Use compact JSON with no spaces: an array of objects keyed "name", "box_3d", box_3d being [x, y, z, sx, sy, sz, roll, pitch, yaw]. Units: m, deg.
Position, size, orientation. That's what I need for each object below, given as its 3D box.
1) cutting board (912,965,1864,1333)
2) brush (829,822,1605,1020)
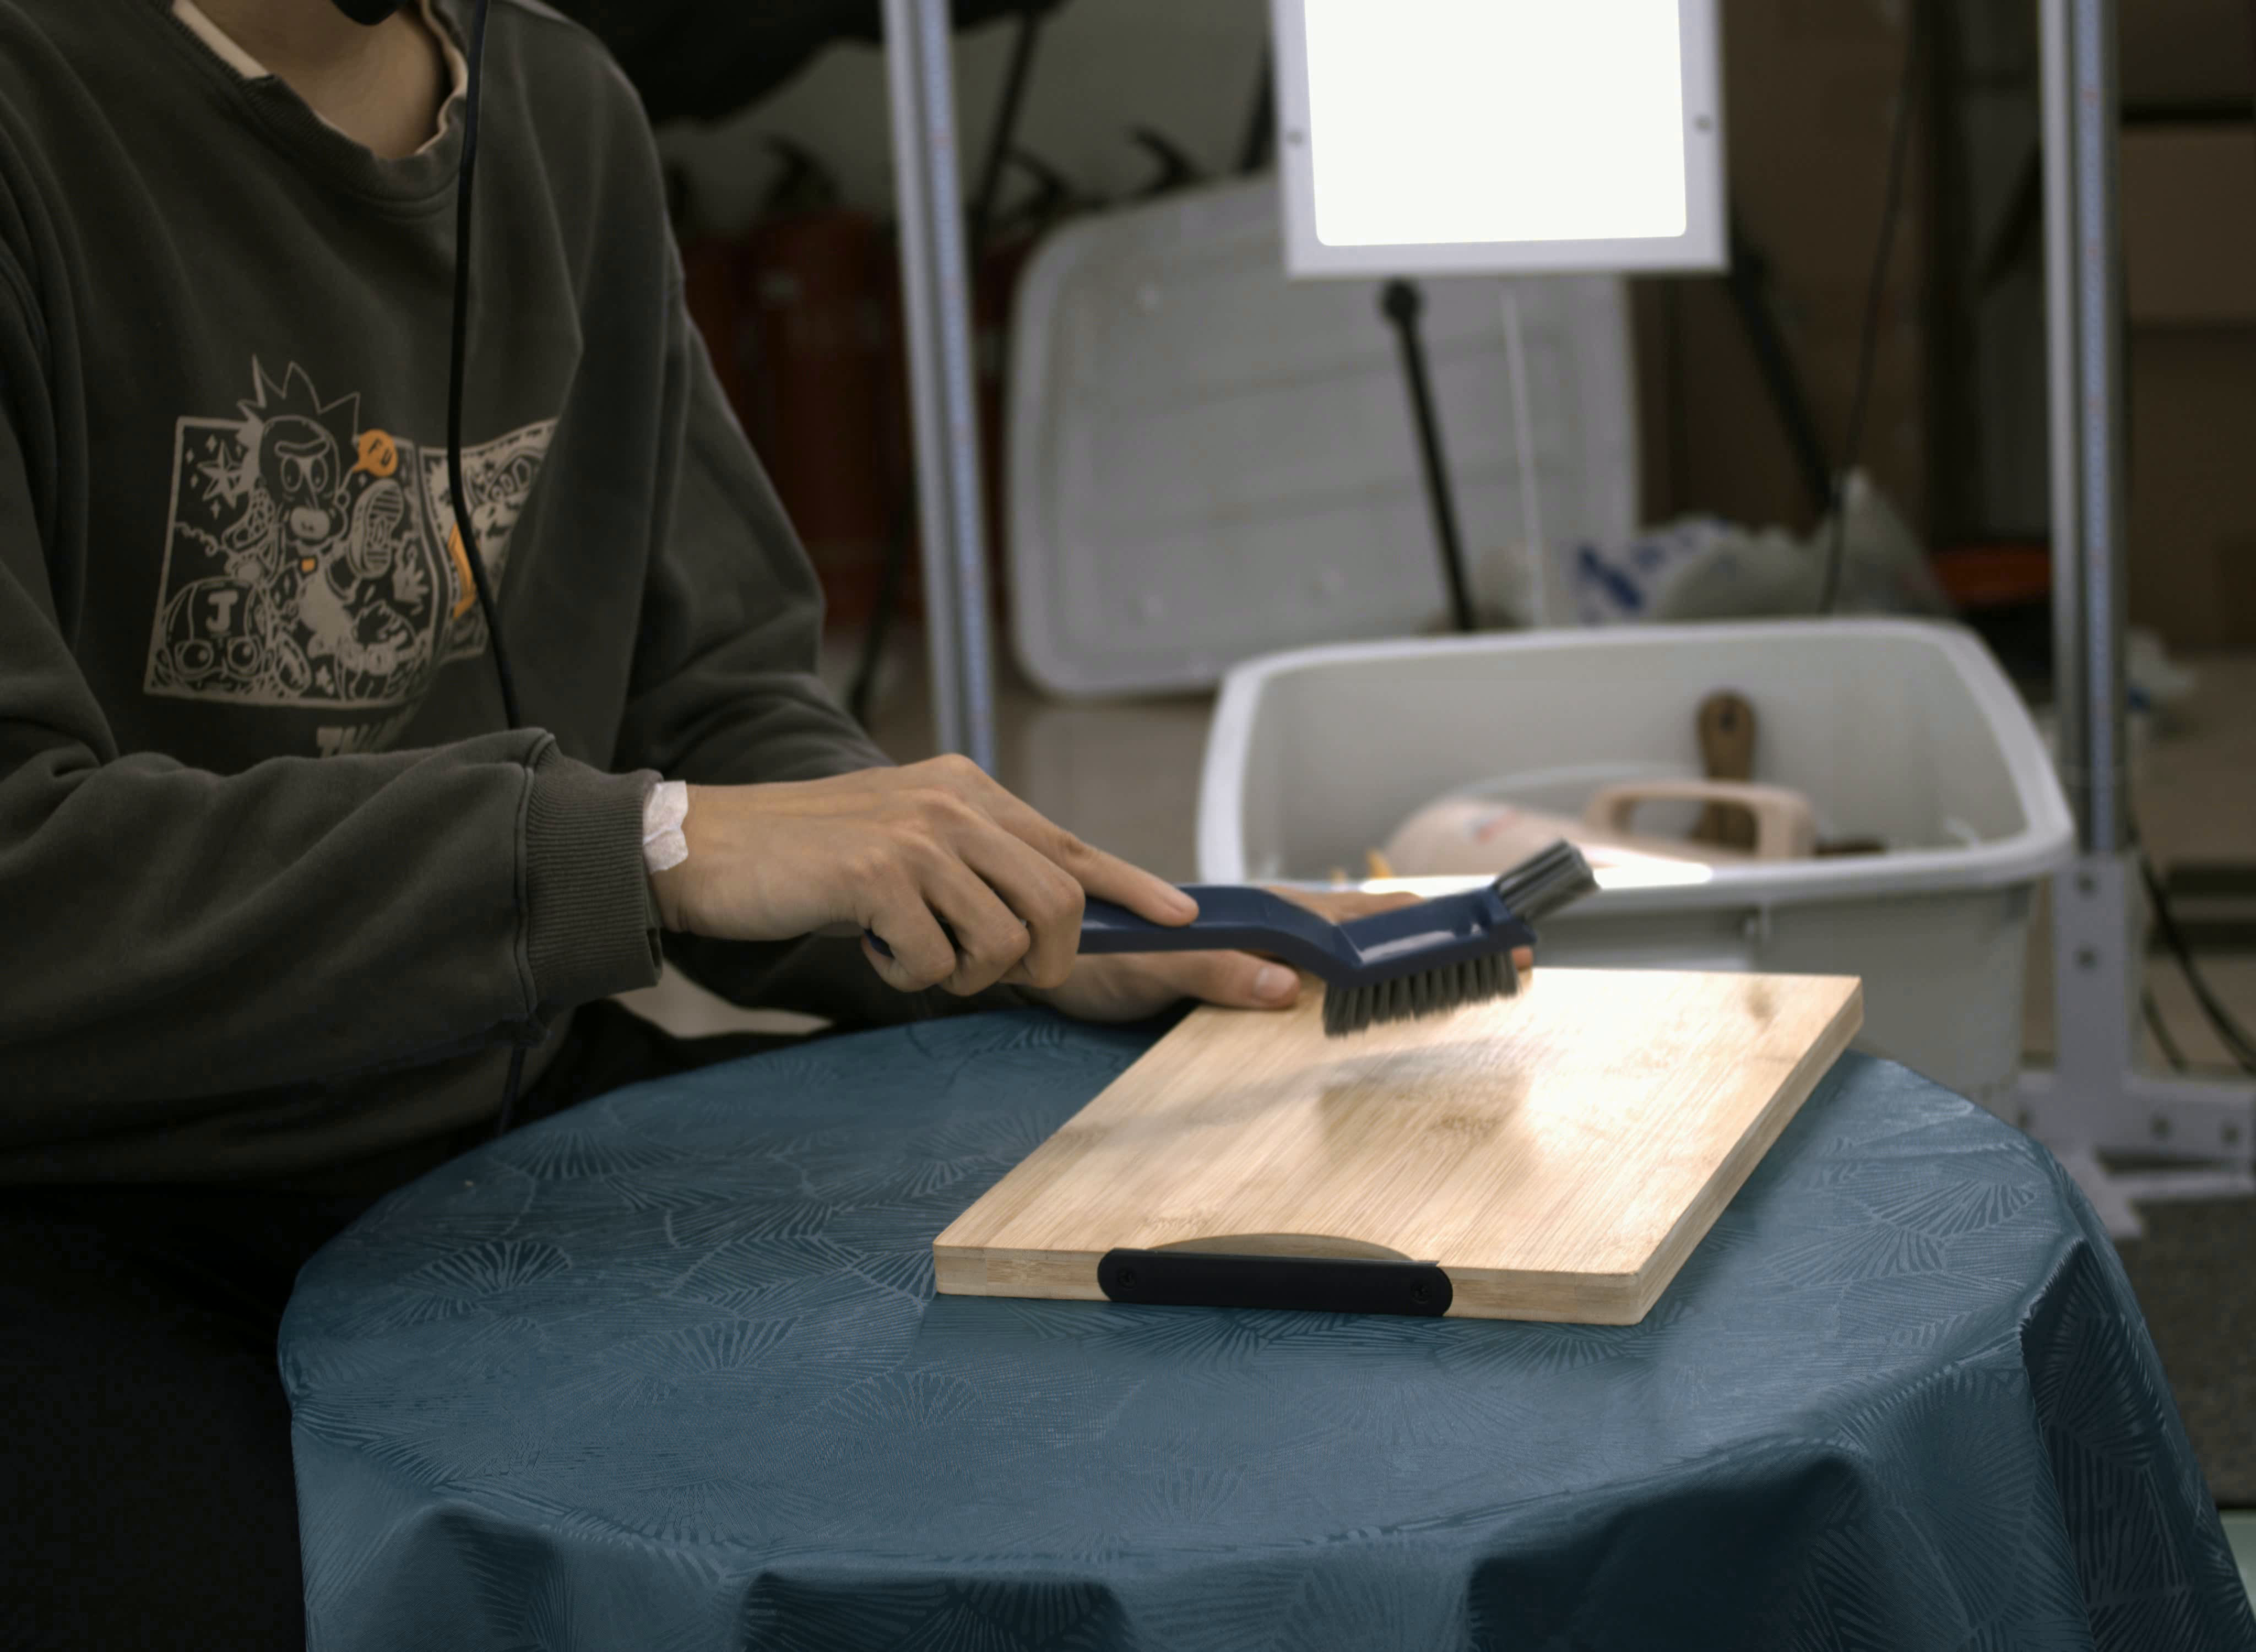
[{"name":"cutting board","box_3d":[0.101,0.107,1.907,0.254,0.023,0.342,-1,14,20]},{"name":"brush","box_3d":[0.032,0.025,1.900,0.267,0.097,0.034,6,41,-29]}]
